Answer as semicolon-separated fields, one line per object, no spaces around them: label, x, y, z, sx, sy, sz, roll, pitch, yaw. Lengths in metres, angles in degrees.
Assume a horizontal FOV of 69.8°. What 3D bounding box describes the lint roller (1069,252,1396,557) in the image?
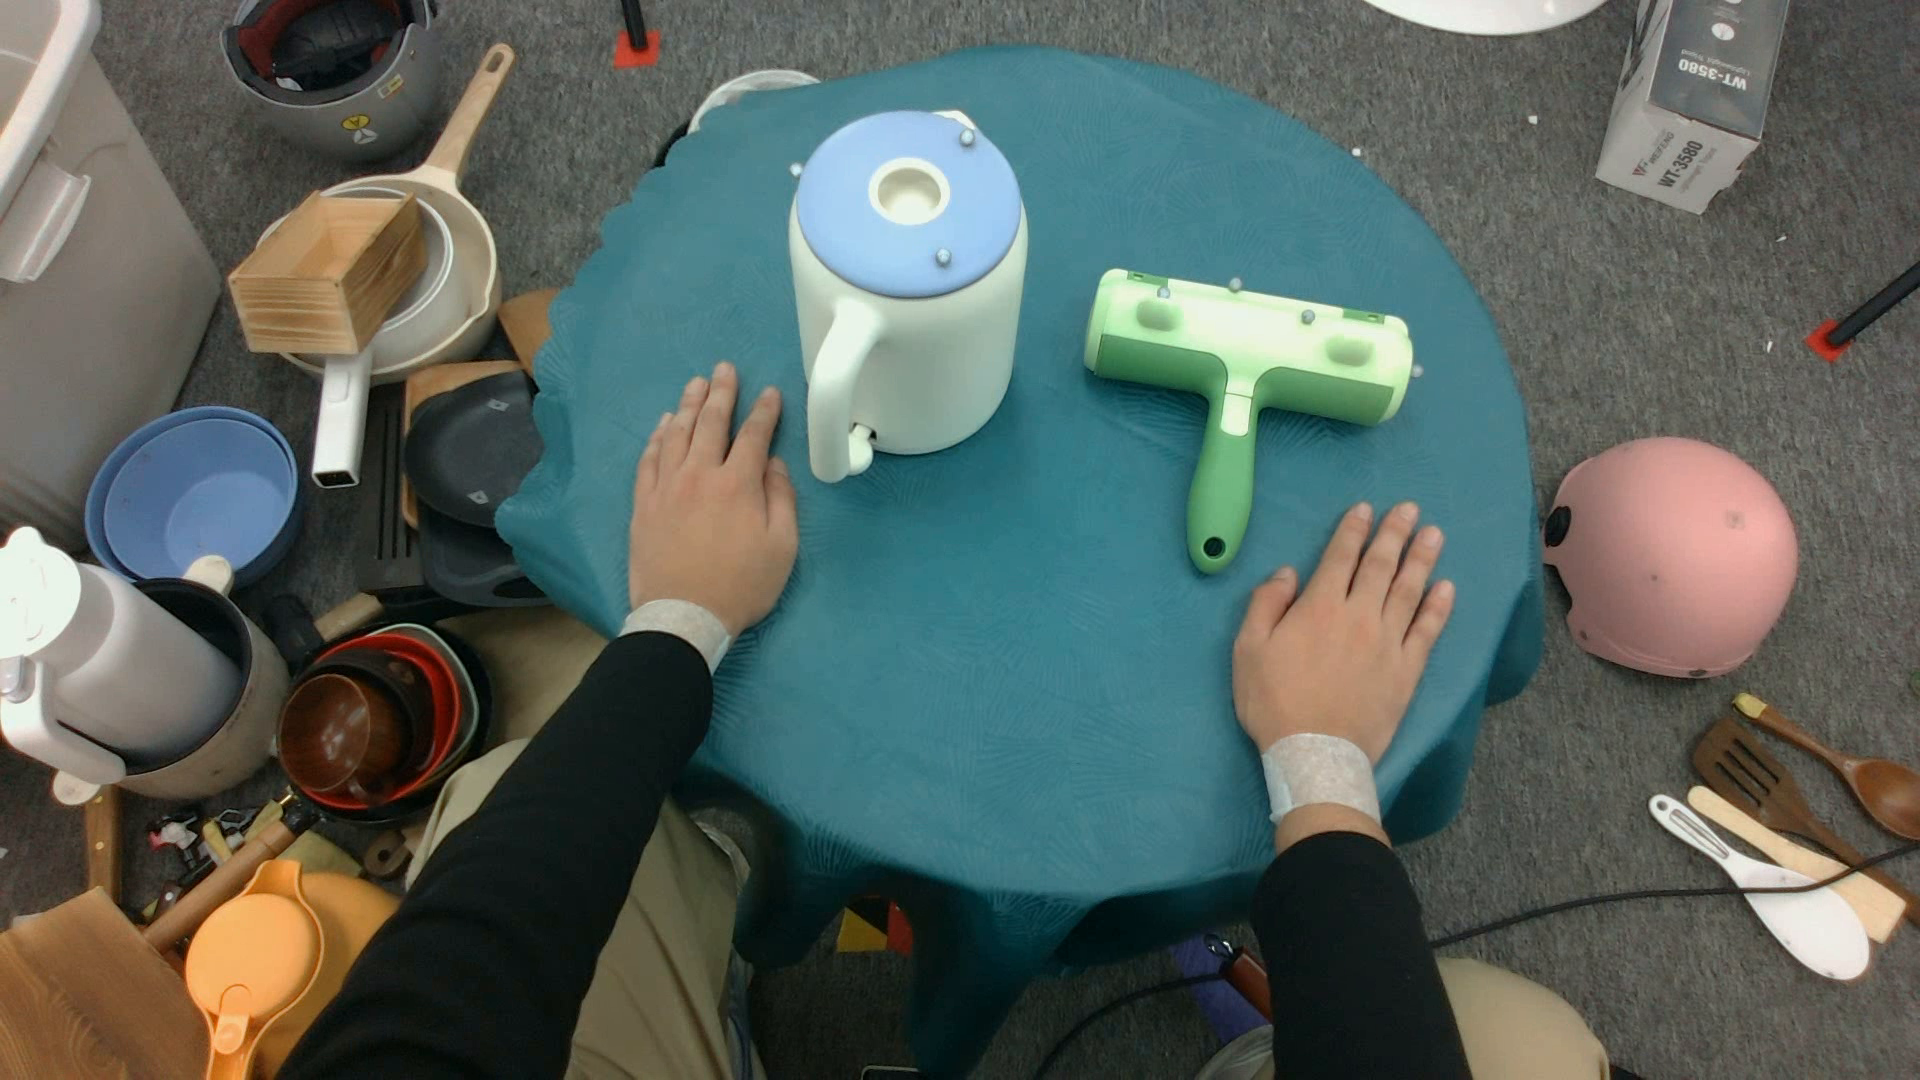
lint roller;0.158;-0.084;0.828;0.198;0.082;0.184;11;64;3

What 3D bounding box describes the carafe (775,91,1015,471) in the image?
carafe;-0.046;-0.132;0.786;0.132;0.182;0.192;20;68;7
